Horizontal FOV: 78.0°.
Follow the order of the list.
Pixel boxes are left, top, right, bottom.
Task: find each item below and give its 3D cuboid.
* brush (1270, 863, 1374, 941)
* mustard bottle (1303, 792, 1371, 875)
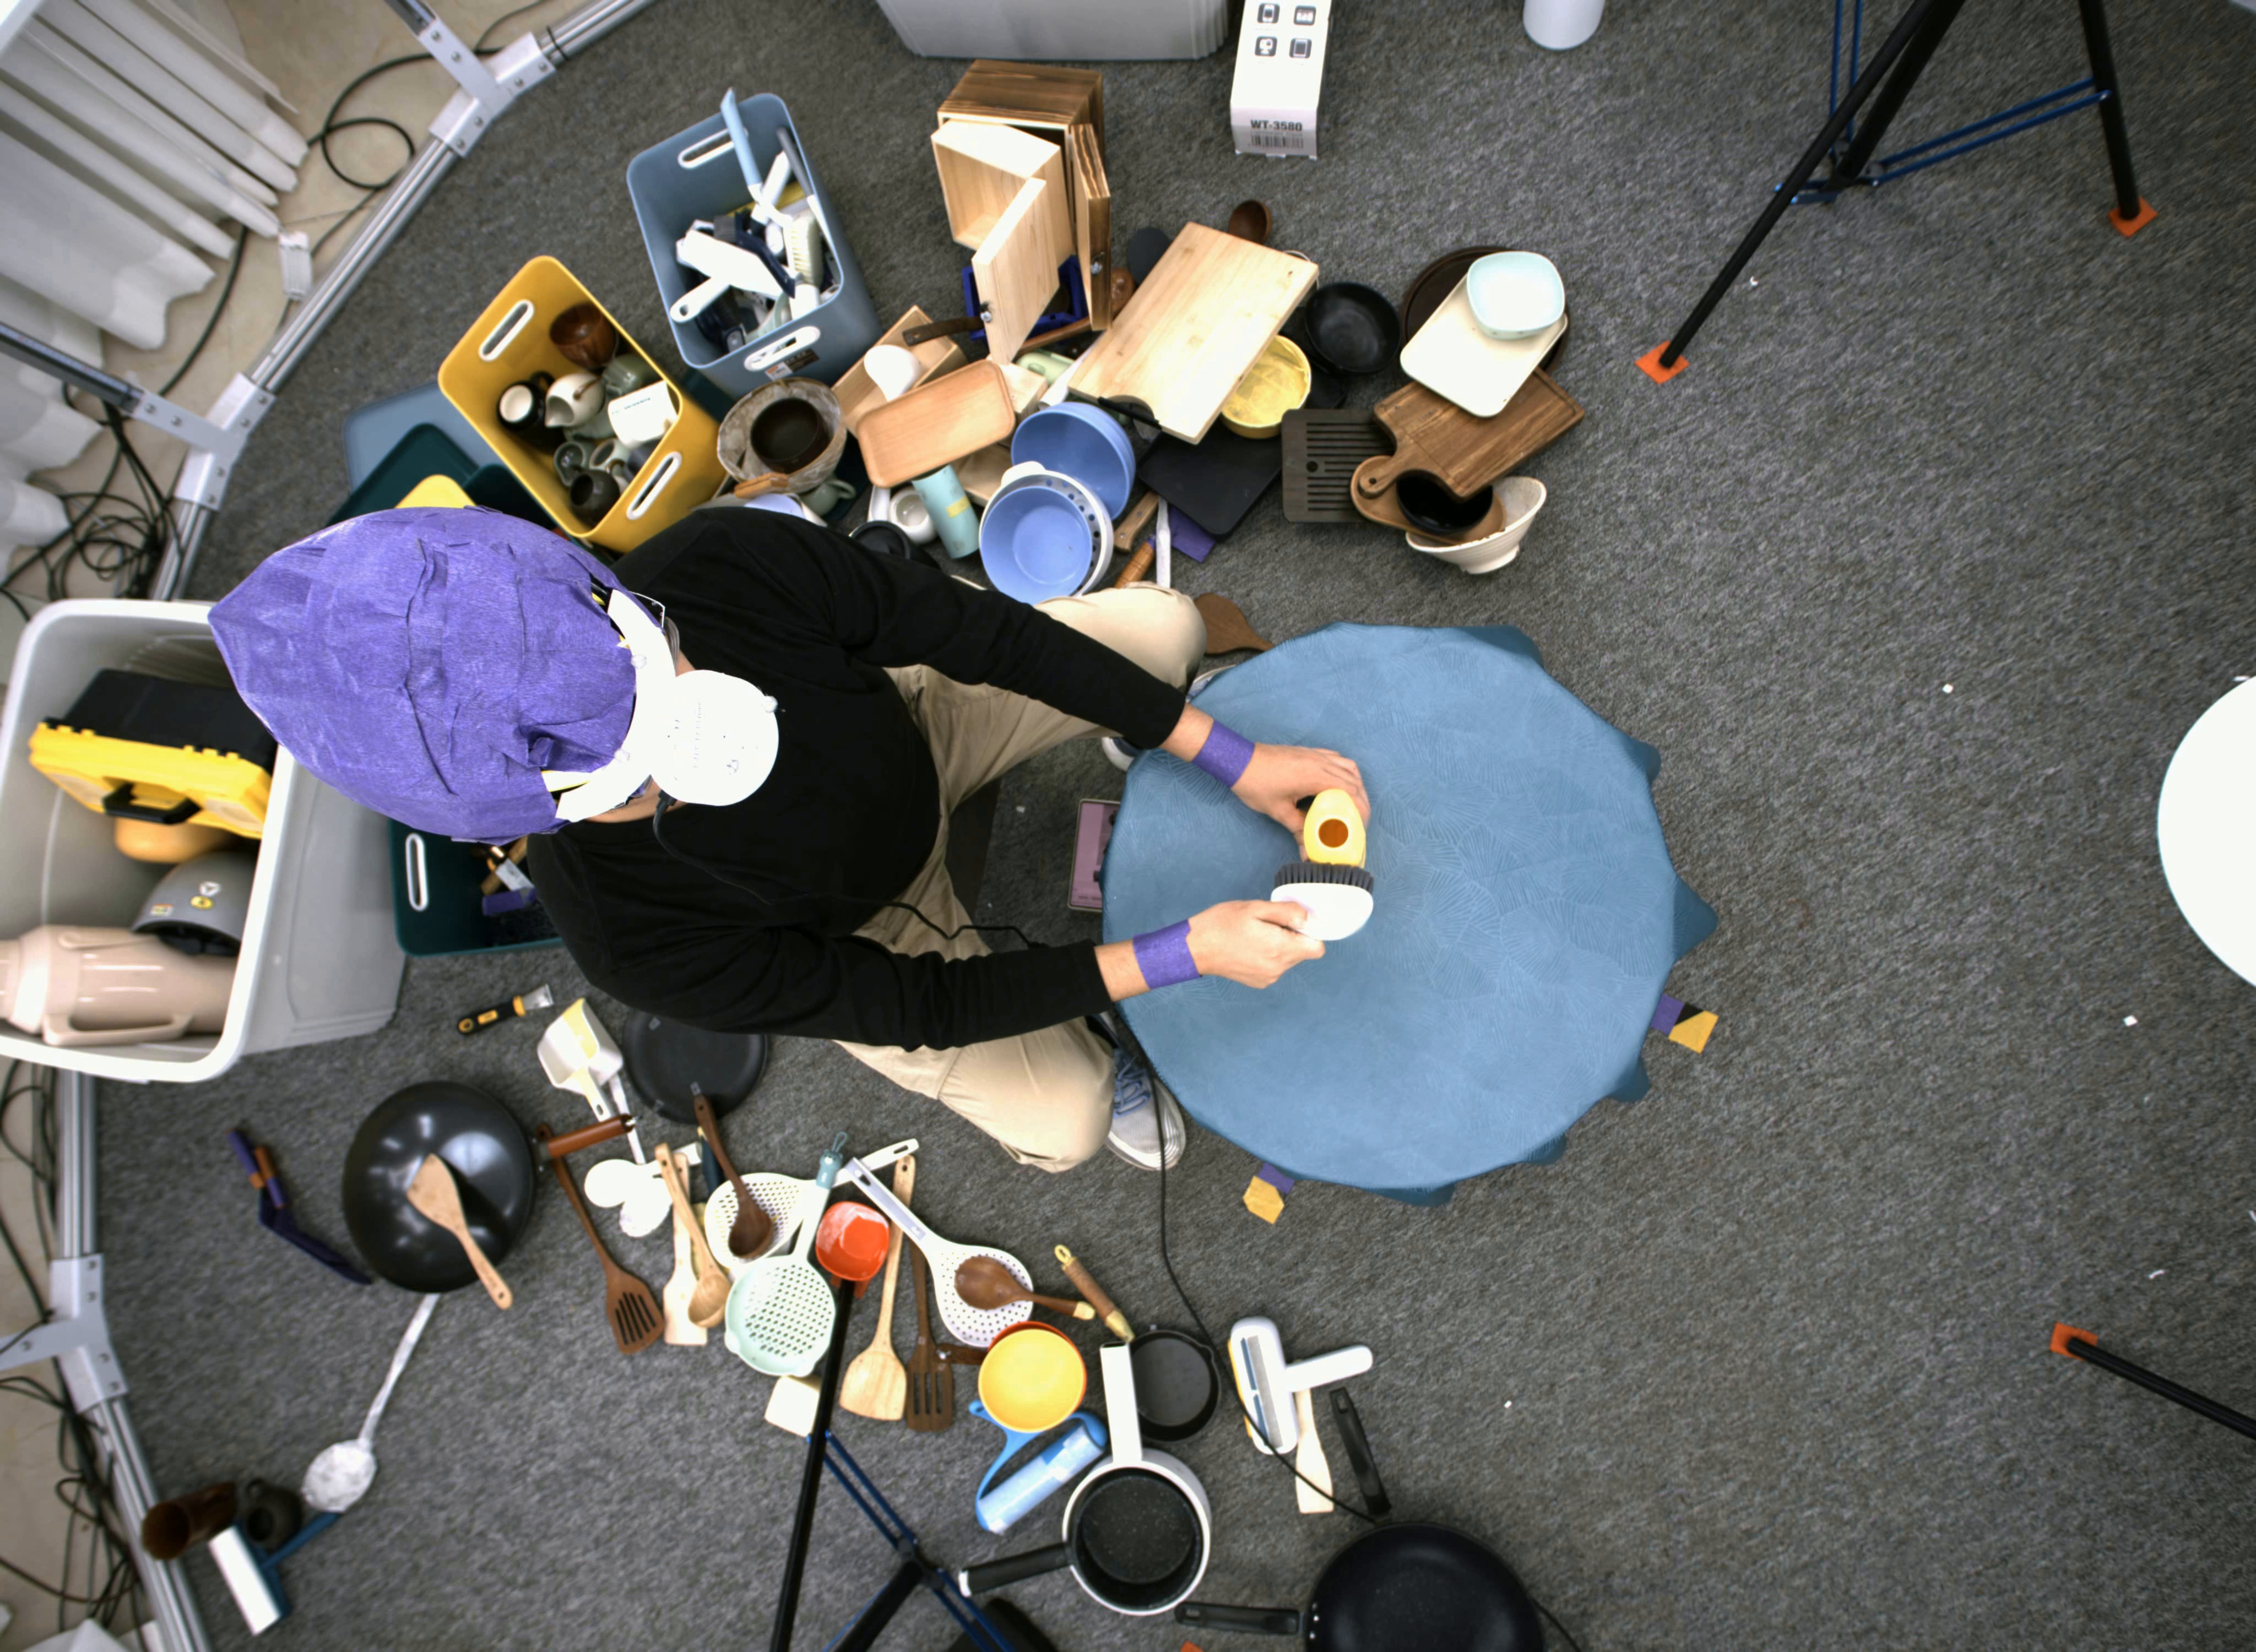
[{"bbox_3d":[0.184,0.077,1.318,0.099,0.051,0.070,3,46,10],"label":"brush"},{"bbox_3d":[0.211,0.017,1.388,0.059,0.172,0.098,-7,84,12],"label":"mustard bottle"}]
